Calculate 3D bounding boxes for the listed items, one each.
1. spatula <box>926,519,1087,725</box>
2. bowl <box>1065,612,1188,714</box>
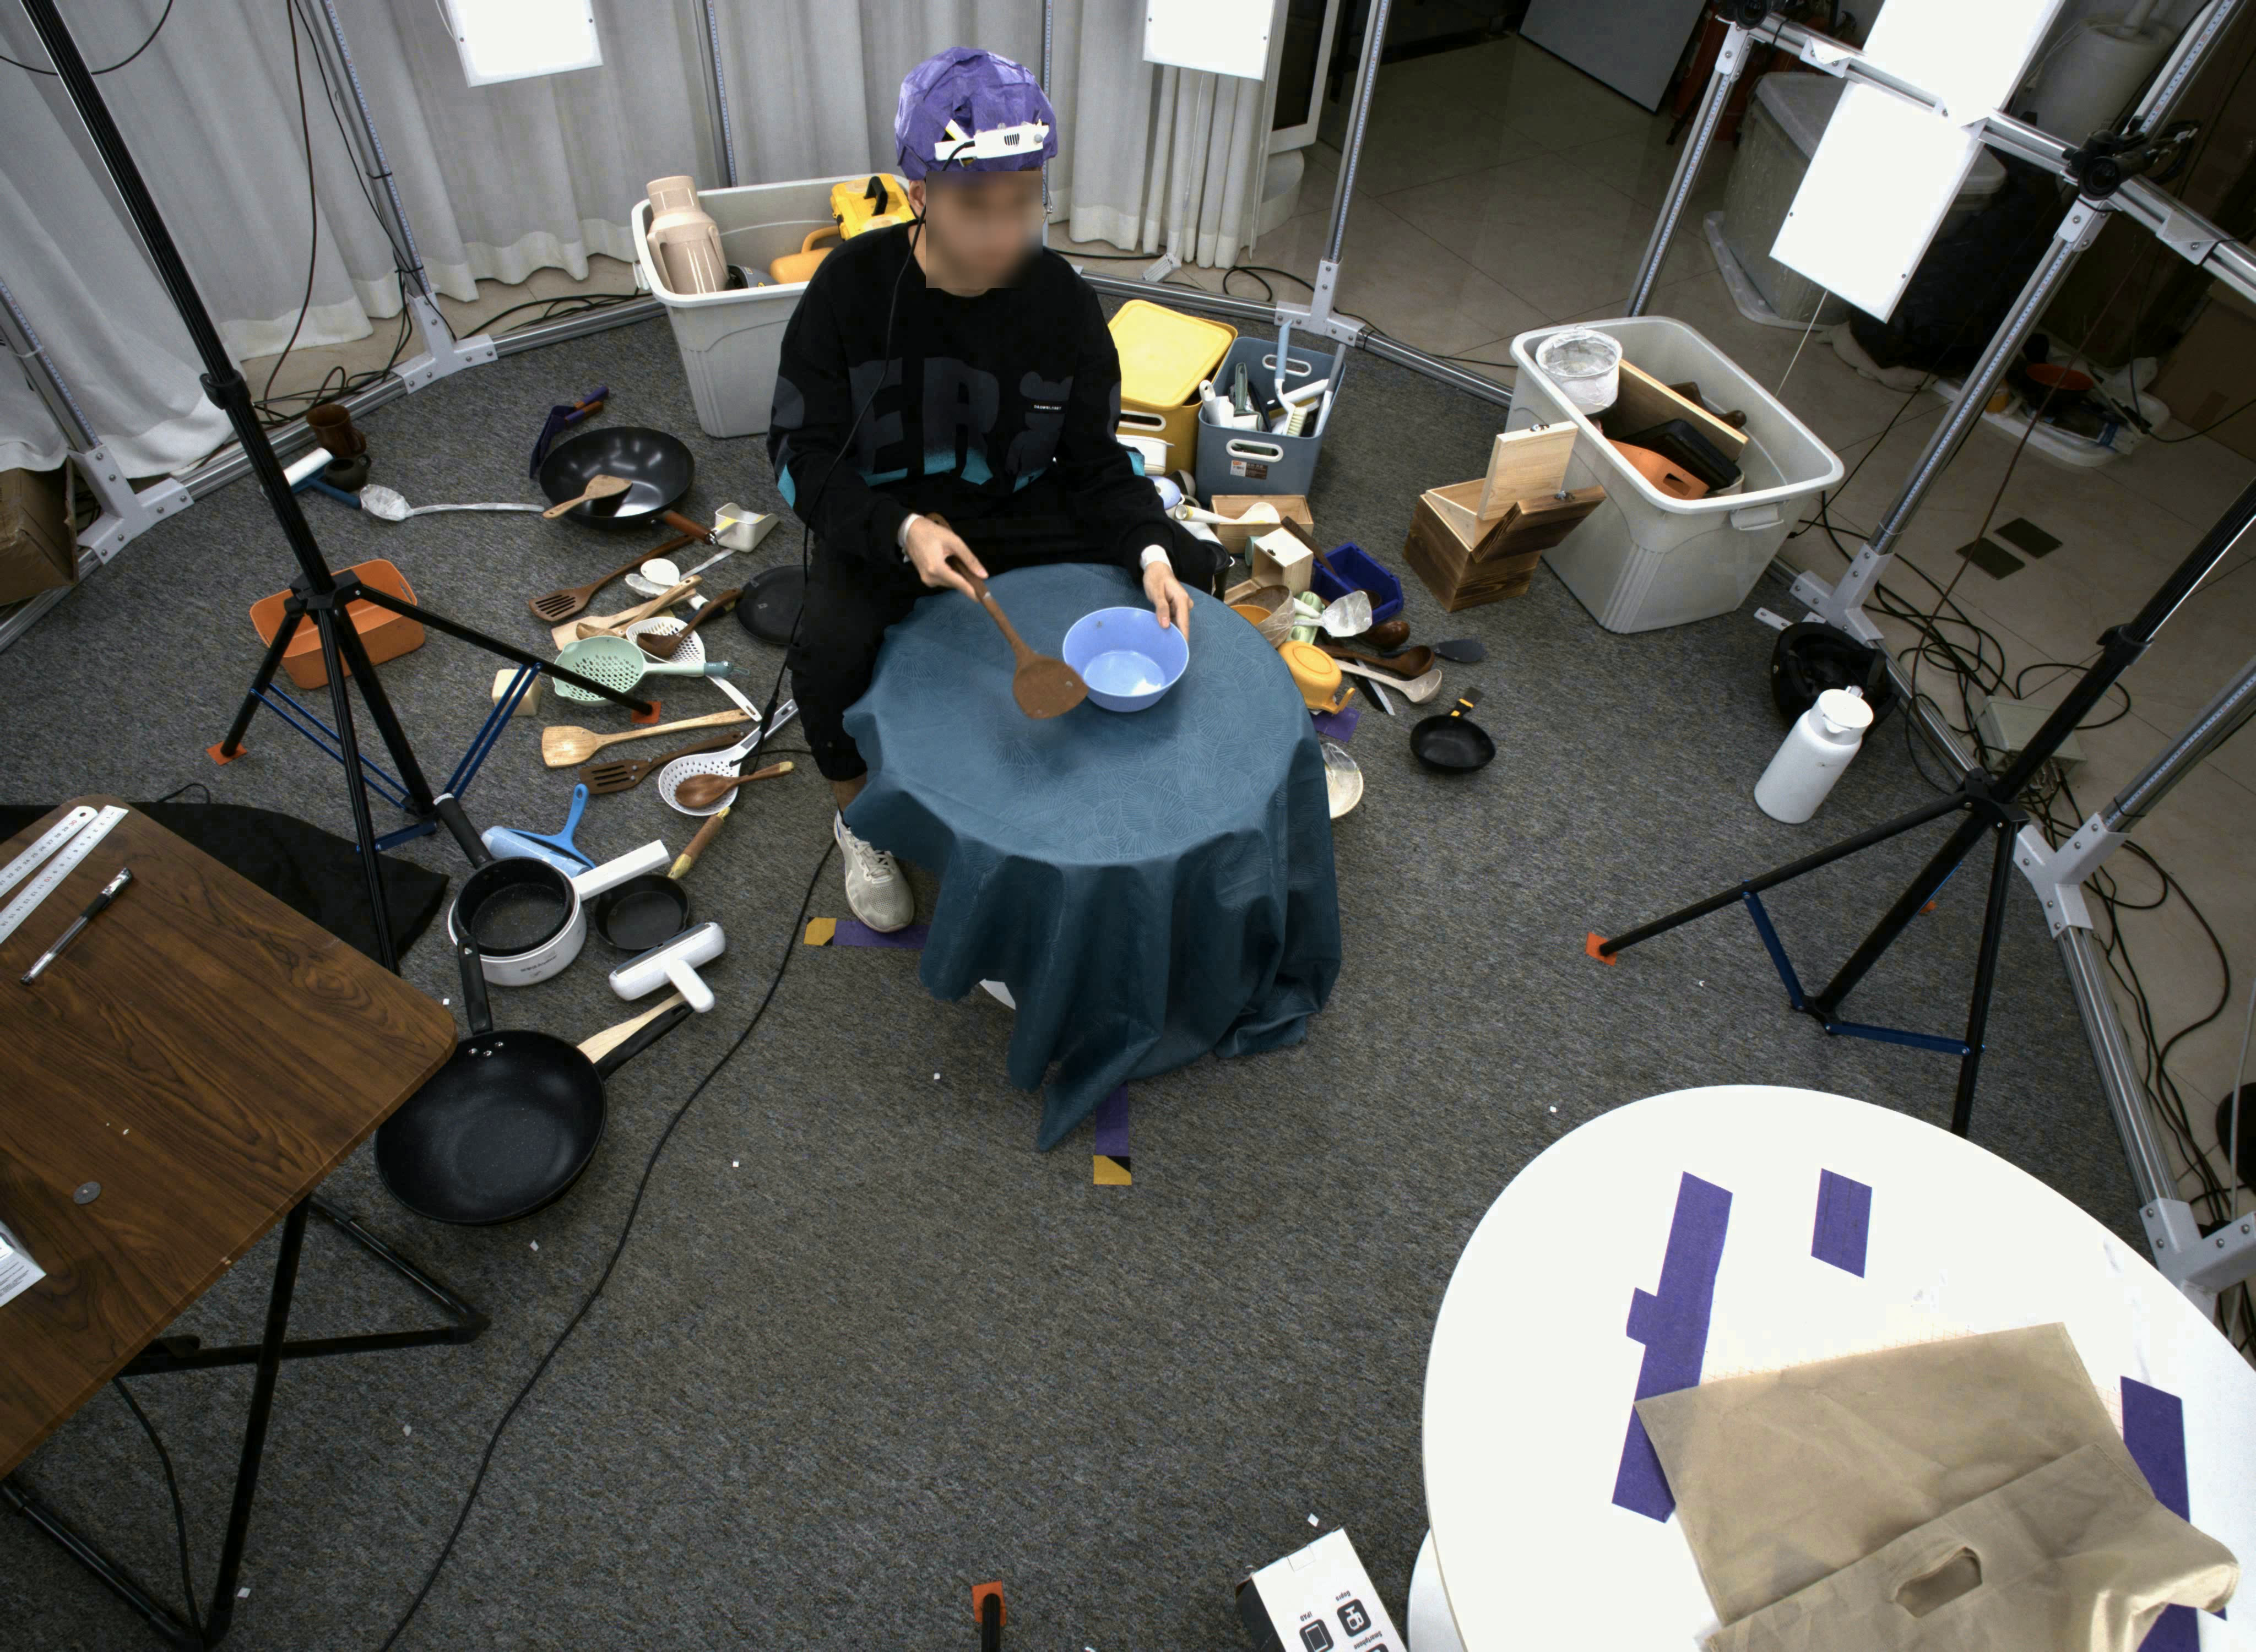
[{"bbox_3d":[-0.186,-0.293,1.789,0.096,0.015,0.392,-27,66,-15],"label":"spatula"},{"bbox_3d":[-0.003,-0.224,1.832,0.176,0.068,0.180,1,49,-2],"label":"bowl"}]
